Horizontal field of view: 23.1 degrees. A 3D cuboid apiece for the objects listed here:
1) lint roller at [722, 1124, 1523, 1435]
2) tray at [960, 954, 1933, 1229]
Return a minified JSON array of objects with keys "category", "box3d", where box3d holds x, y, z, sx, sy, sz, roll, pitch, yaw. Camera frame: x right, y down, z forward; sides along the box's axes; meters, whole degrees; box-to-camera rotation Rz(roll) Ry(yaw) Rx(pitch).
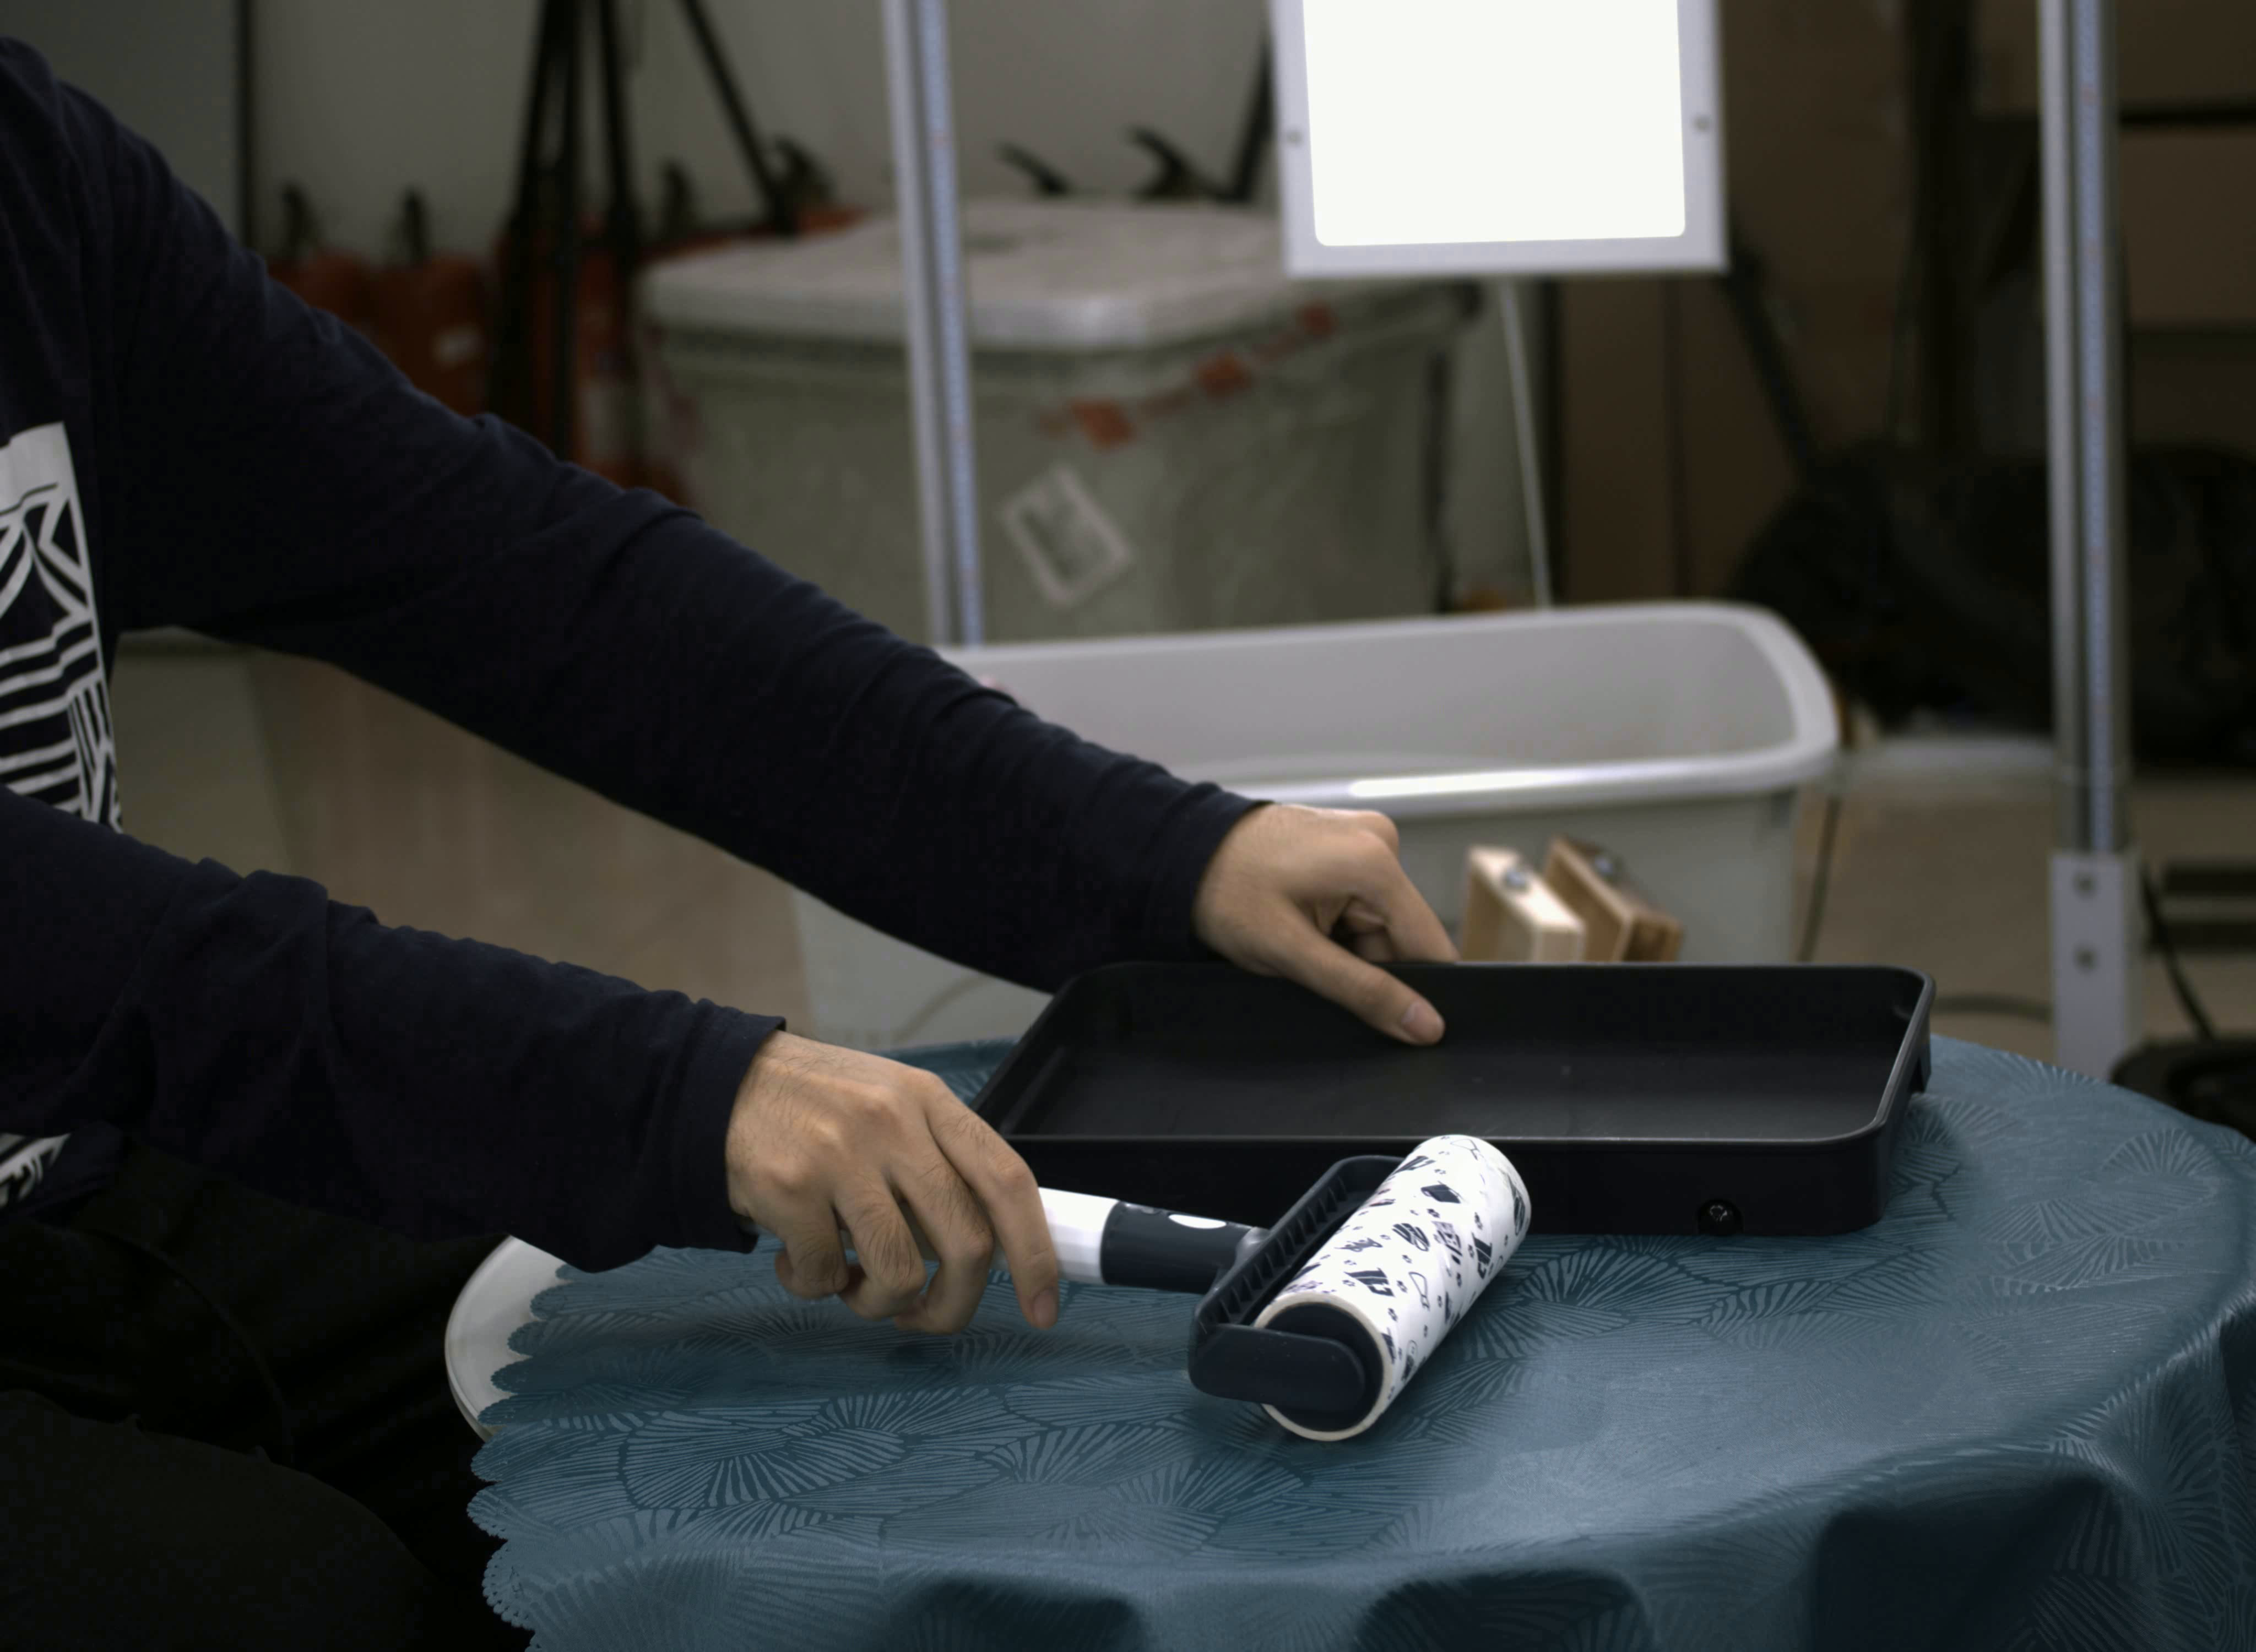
[{"category":"lint roller","box3d":[-0.013,0.130,1.742,0.250,0.050,0.173,6,17,19]},{"category":"tray","box3d":[0.114,0.091,1.907,0.321,0.037,0.181,-1,17,18]}]
